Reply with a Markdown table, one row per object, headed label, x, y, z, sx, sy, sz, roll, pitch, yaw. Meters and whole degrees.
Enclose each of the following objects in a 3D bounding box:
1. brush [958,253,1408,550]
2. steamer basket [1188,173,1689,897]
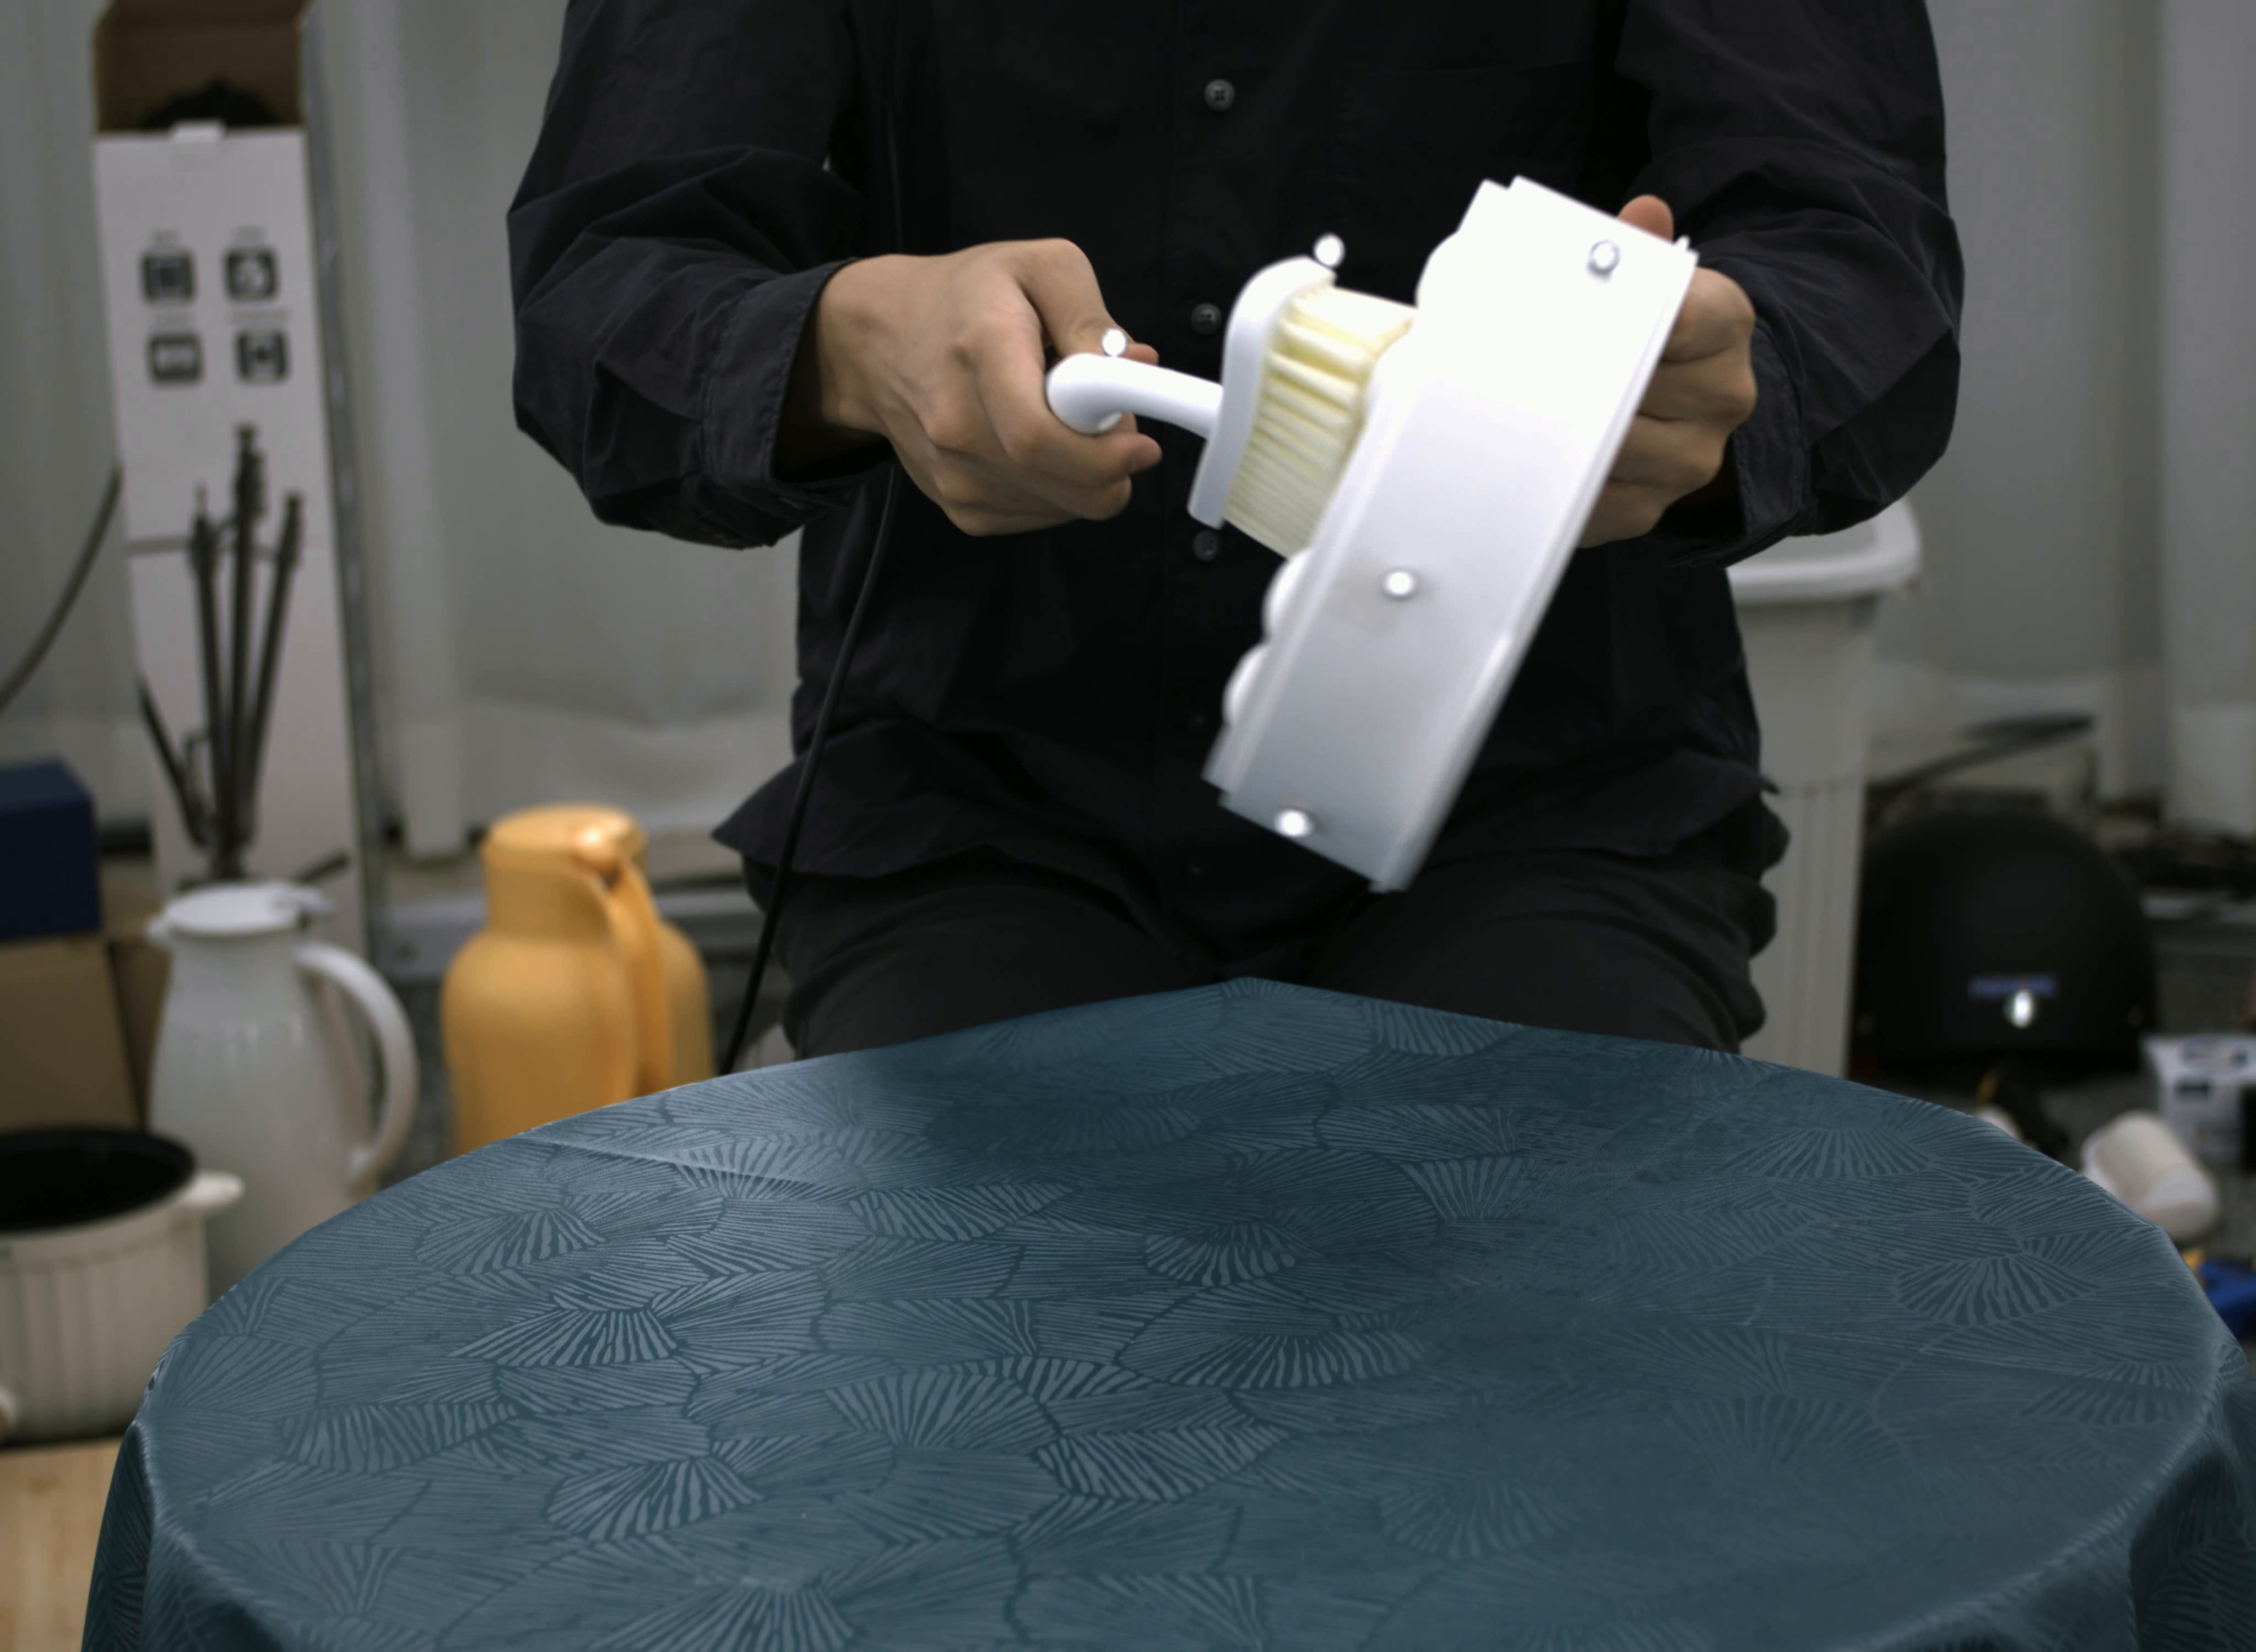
| label | x | y | z | sx | sy | sz | roll | pitch | yaw |
| --- | --- | --- | --- | --- | --- | --- | --- | --- | --- |
| brush | 0.028 | -0.119 | 1.640 | 0.083 | 0.084 | 0.325 | -27 | 3 | -14 |
| steamer basket | 0.083 | -0.083 | 1.525 | 0.069 | 0.200 | 0.233 | 26 | 35 | 0 |
